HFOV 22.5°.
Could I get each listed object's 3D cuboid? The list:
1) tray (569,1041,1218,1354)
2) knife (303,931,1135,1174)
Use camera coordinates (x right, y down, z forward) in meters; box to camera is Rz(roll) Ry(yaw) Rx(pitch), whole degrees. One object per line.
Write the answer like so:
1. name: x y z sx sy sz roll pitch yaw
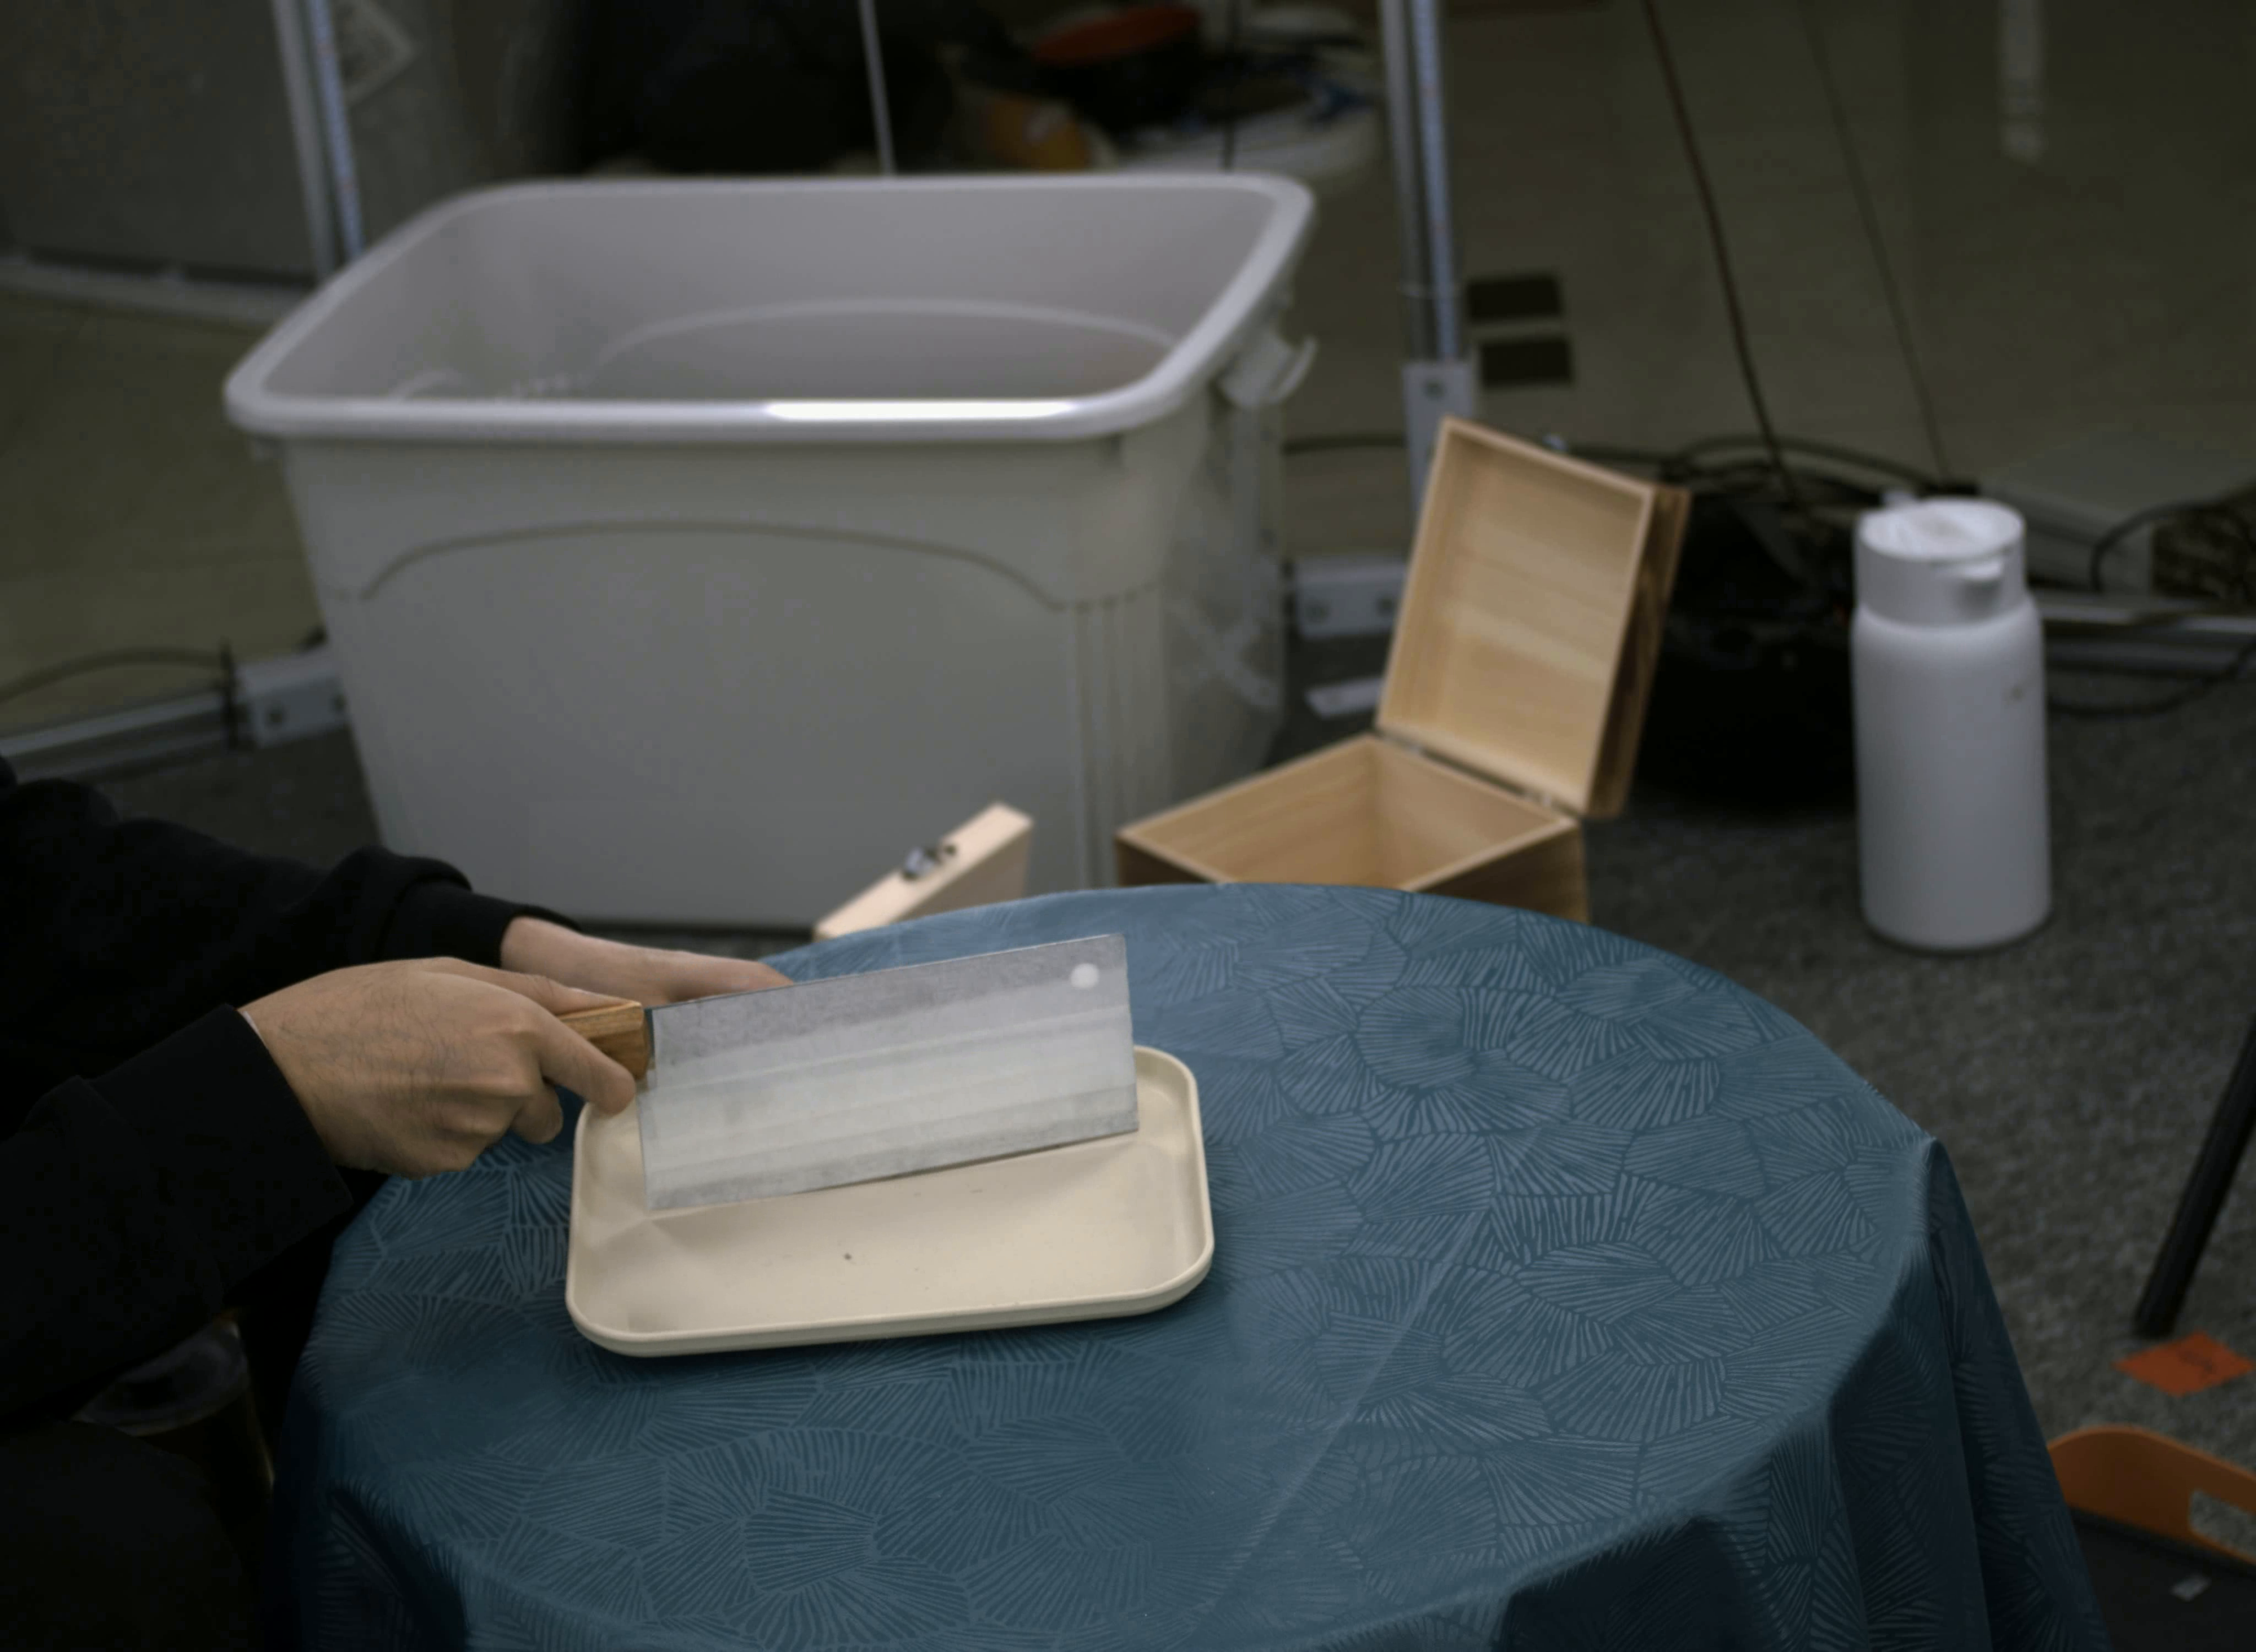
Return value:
1. tray: -0.088 0.139 2.121 0.239 0.018 0.168 -4 32 -1
2. knife: -0.149 0.092 2.109 0.305 0.095 0.020 -8 43 -2
